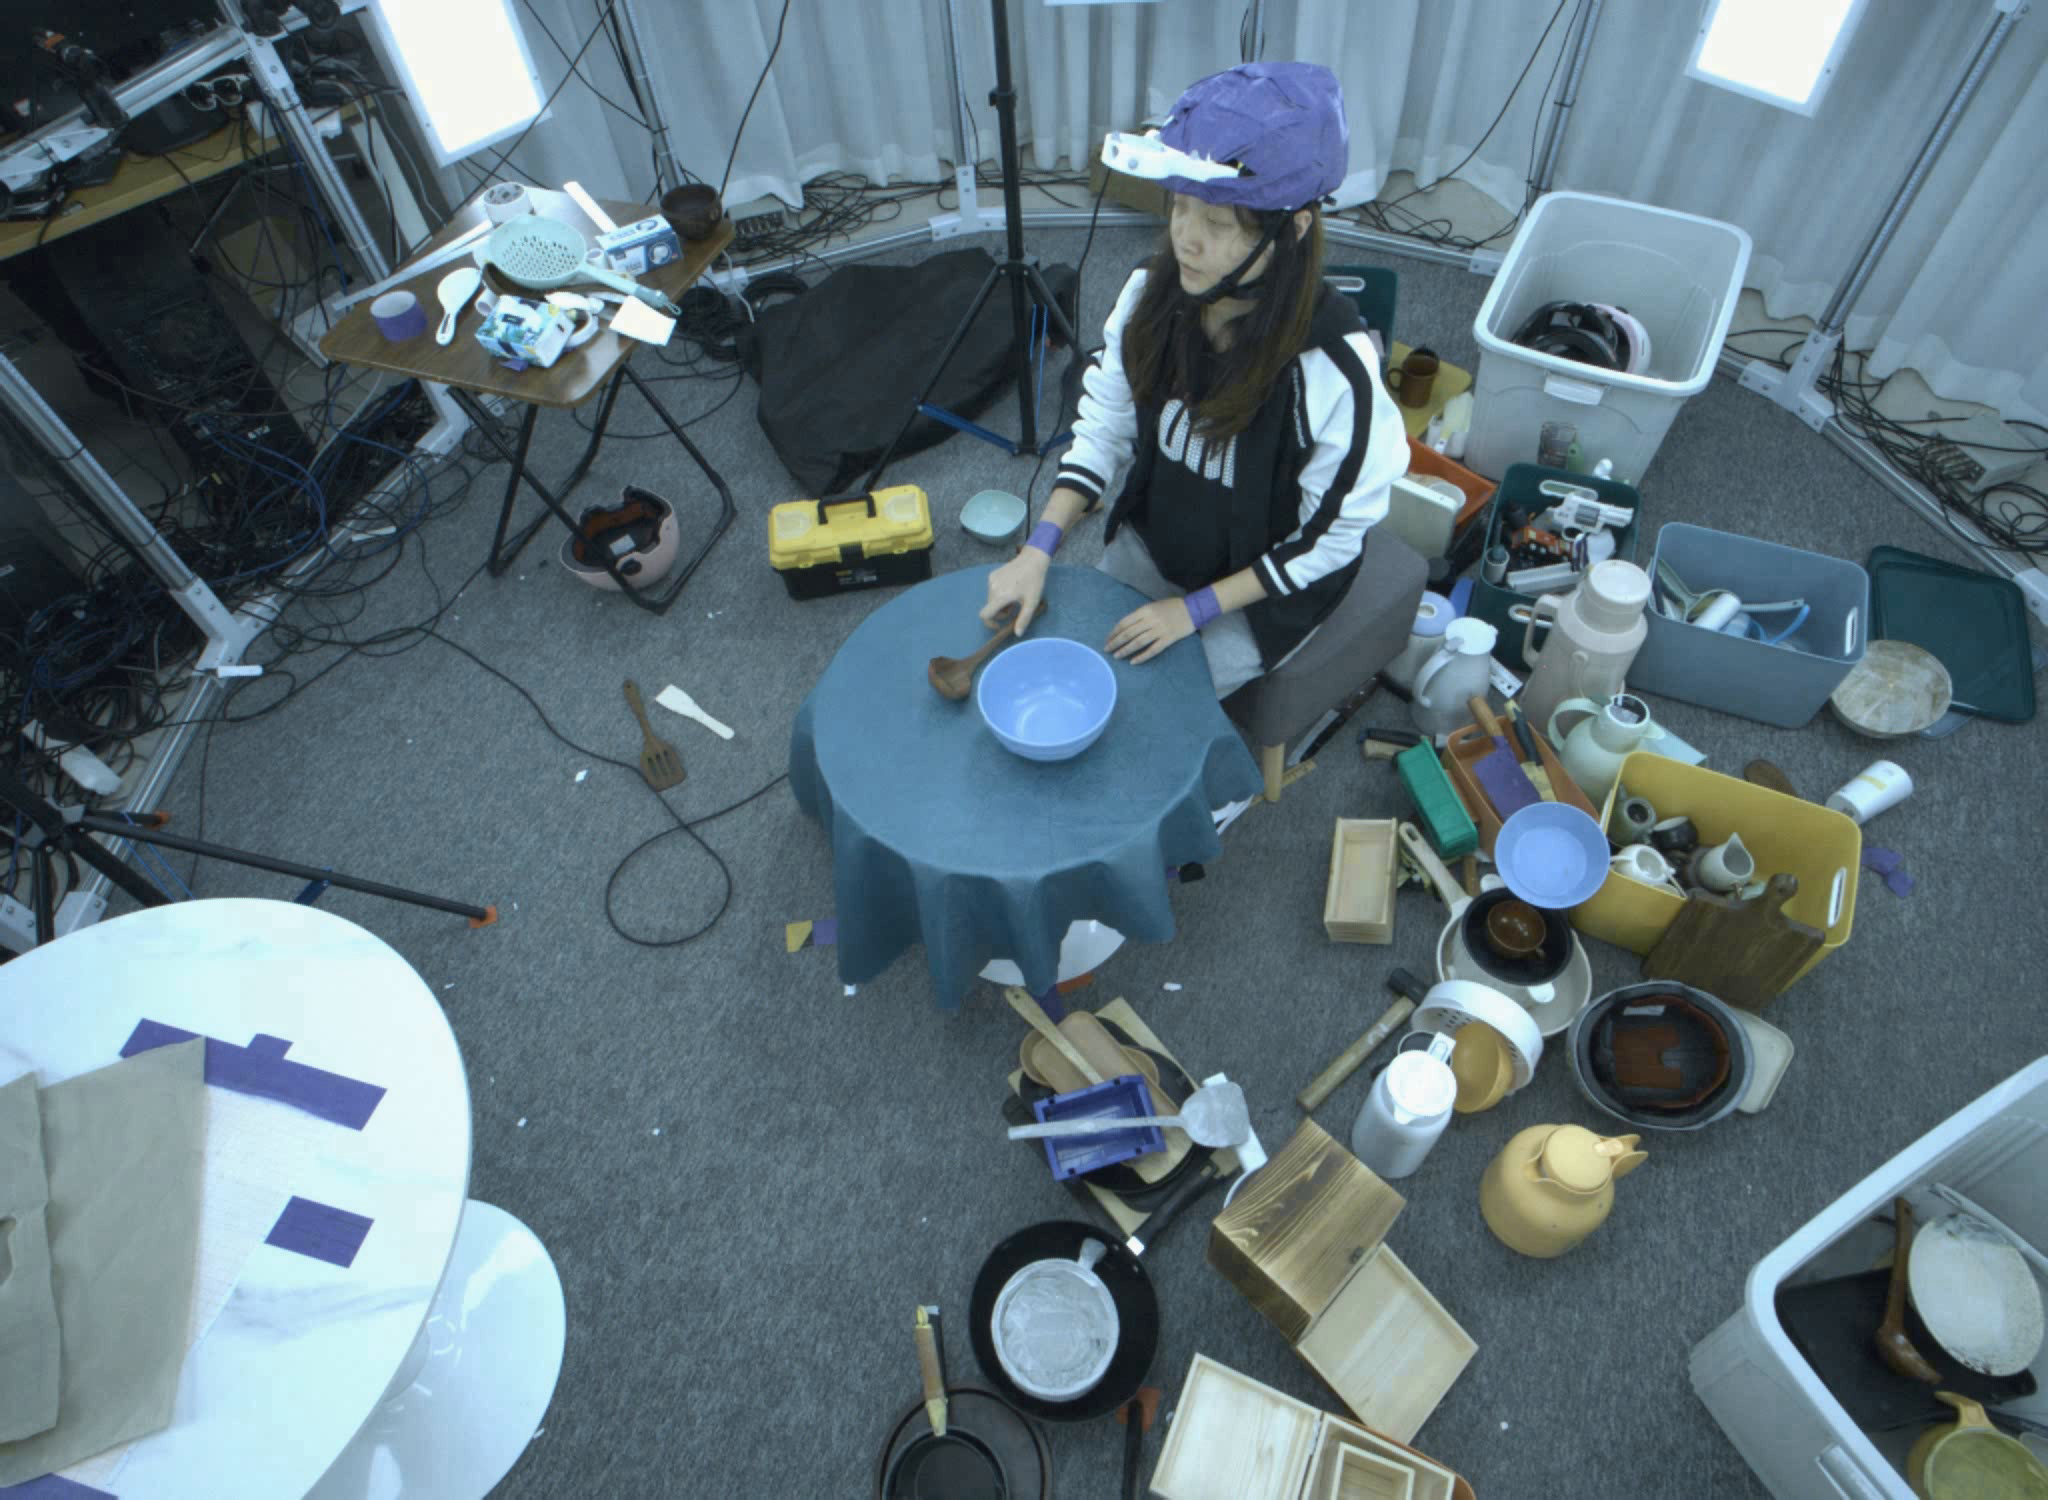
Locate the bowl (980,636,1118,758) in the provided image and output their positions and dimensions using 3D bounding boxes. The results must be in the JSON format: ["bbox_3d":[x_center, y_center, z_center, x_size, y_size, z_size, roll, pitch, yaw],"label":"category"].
[{"bbox_3d":[0.042,-0.061,1.771,0.195,0.097,0.194,-4,54,7],"label":"bowl"}]

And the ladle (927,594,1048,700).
[{"bbox_3d":[-0.046,-0.167,1.870,0.262,0.064,0.077,-42,96,-24],"label":"ladle"}]
